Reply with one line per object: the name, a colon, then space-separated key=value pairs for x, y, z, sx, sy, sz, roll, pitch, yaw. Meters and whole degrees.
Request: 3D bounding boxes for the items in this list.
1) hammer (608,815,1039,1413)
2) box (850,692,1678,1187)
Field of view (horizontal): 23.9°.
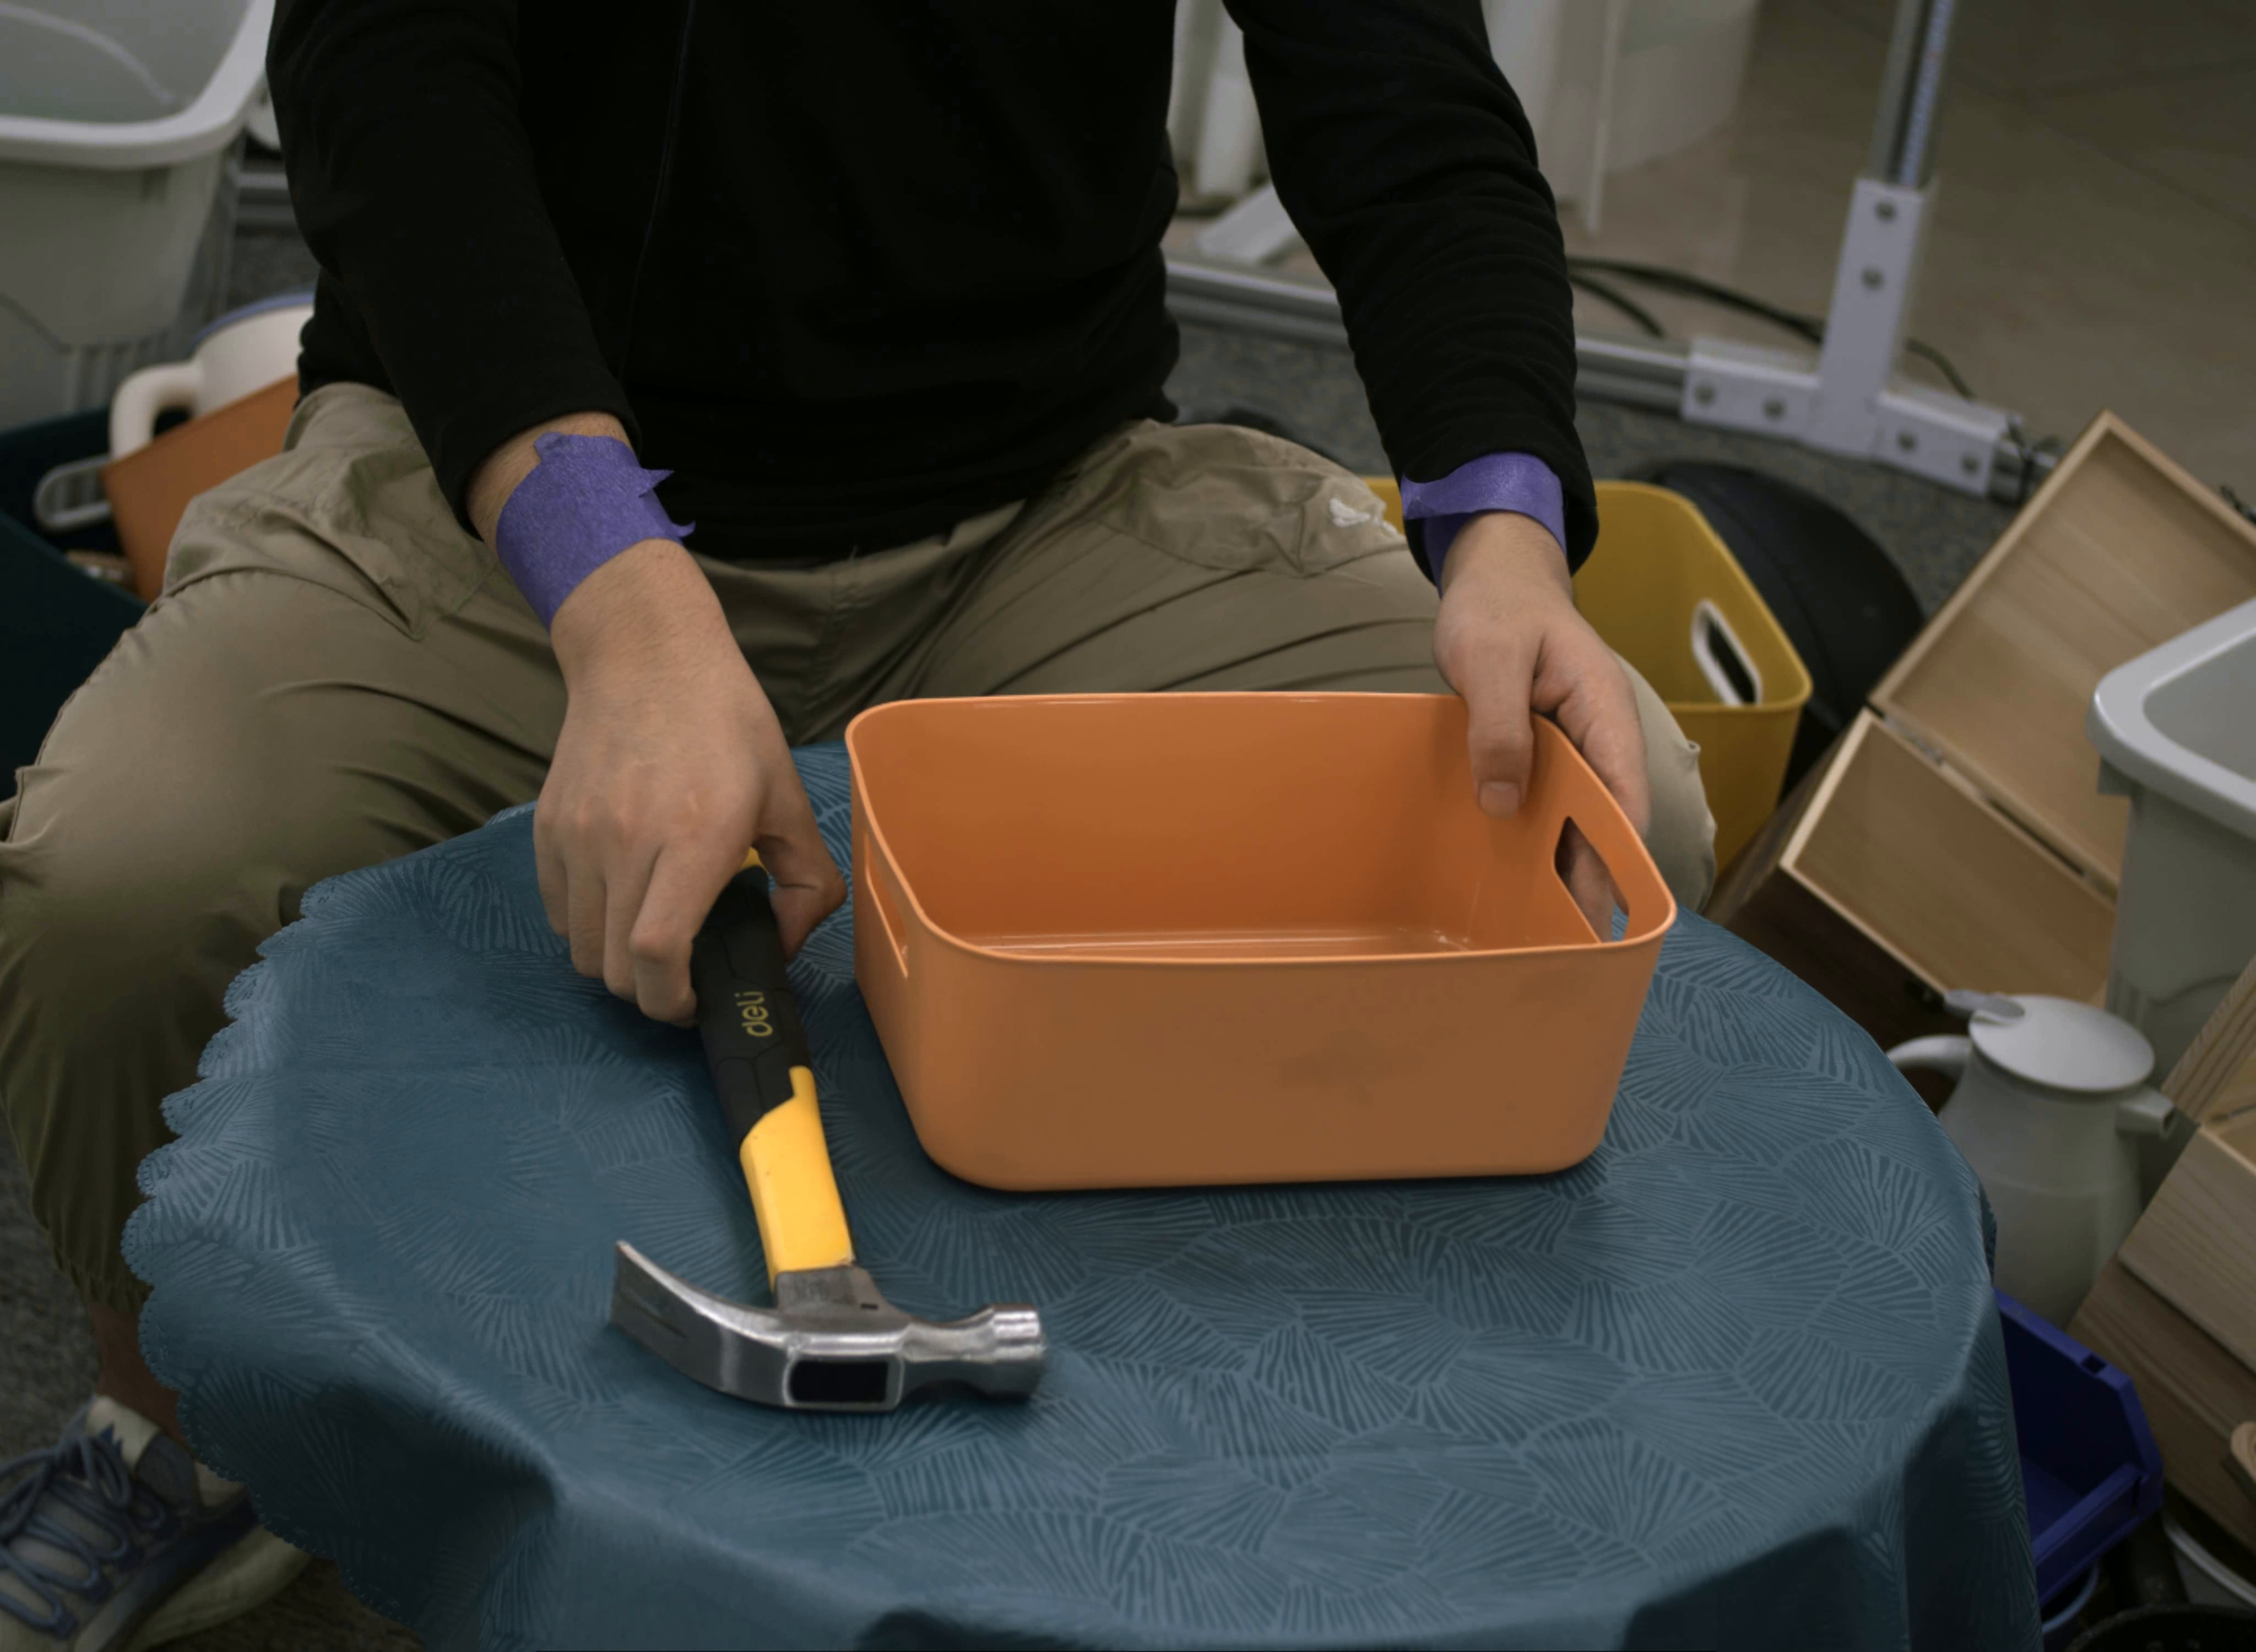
hammer: x=-0.121 y=0.089 z=1.800 sx=0.131 sy=0.032 sz=0.341 roll=0 pitch=30 yaw=-12
box: x=0.038 y=0.040 z=1.865 sx=0.271 sy=0.102 sz=0.201 roll=-1 pitch=27 yaw=-15
